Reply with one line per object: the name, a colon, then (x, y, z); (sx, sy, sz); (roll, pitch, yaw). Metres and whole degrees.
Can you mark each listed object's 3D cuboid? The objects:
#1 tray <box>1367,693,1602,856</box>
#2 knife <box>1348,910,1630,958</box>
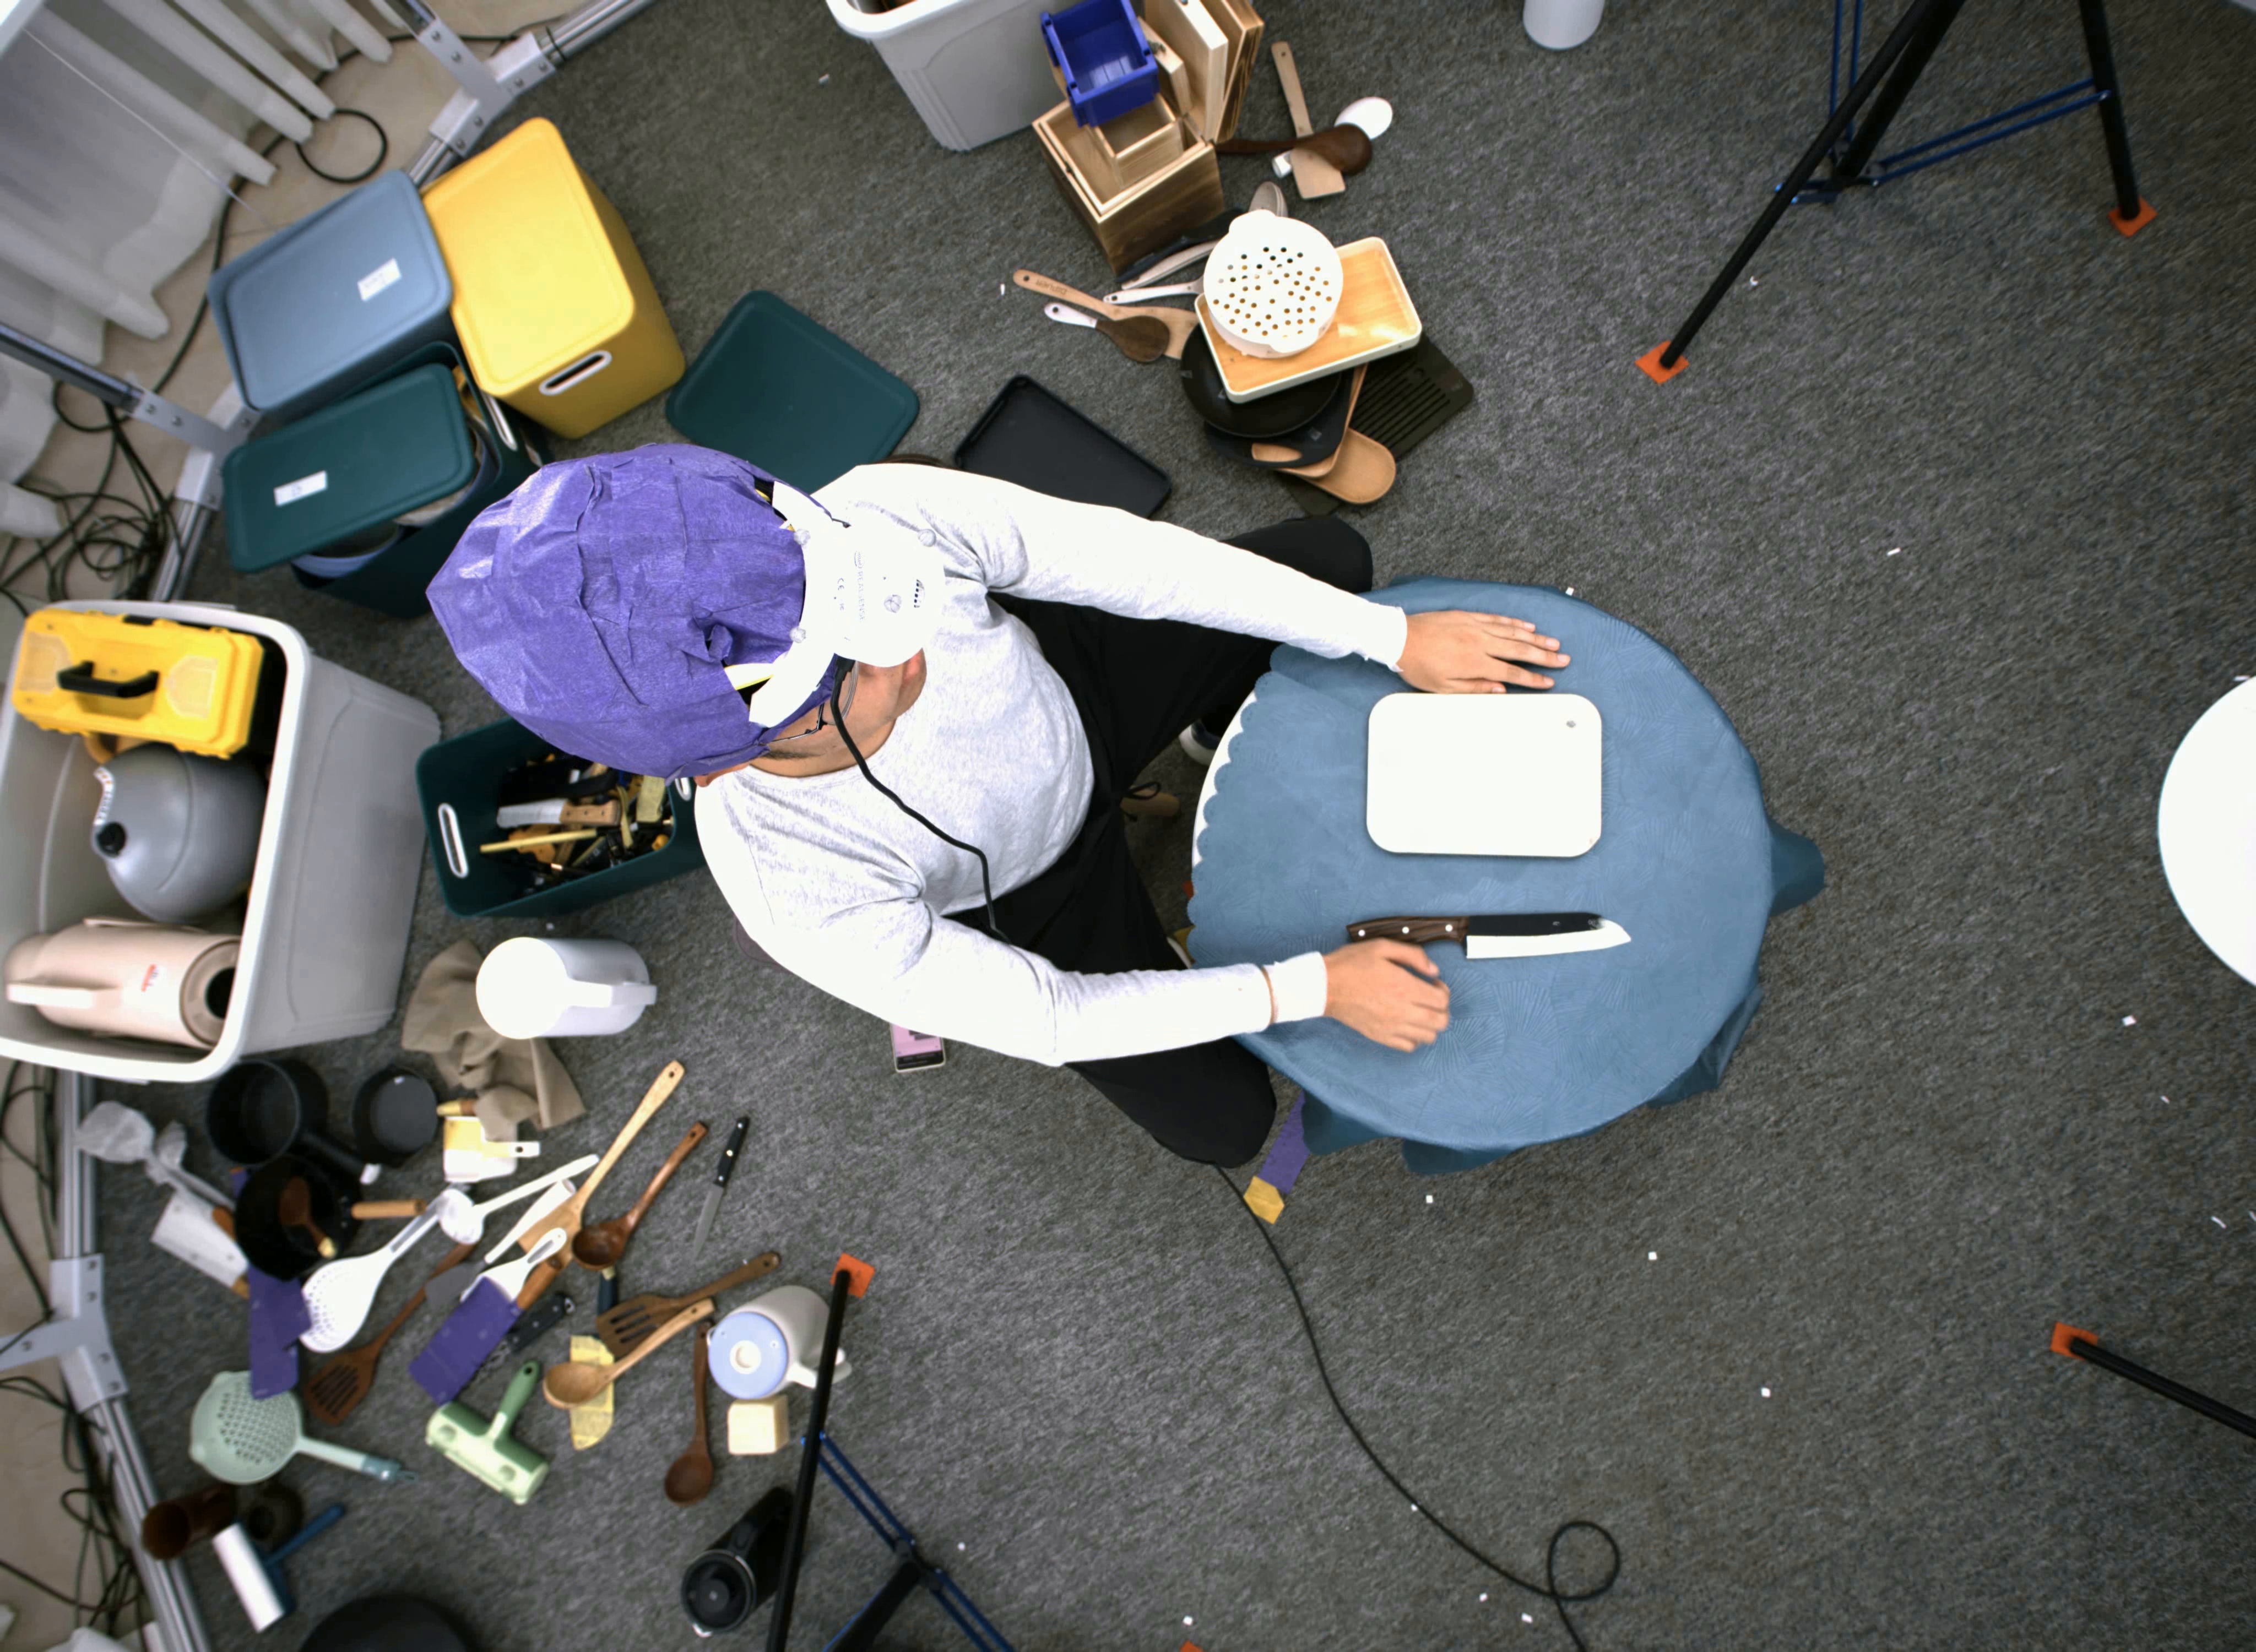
tray: (0.373, -0.056, 1.439); (0.240, 0.017, 0.170); (2, 87, 11)
knife: (0.374, 0.110, 1.431); (0.290, 0.020, 0.050); (-1, 91, 8)
